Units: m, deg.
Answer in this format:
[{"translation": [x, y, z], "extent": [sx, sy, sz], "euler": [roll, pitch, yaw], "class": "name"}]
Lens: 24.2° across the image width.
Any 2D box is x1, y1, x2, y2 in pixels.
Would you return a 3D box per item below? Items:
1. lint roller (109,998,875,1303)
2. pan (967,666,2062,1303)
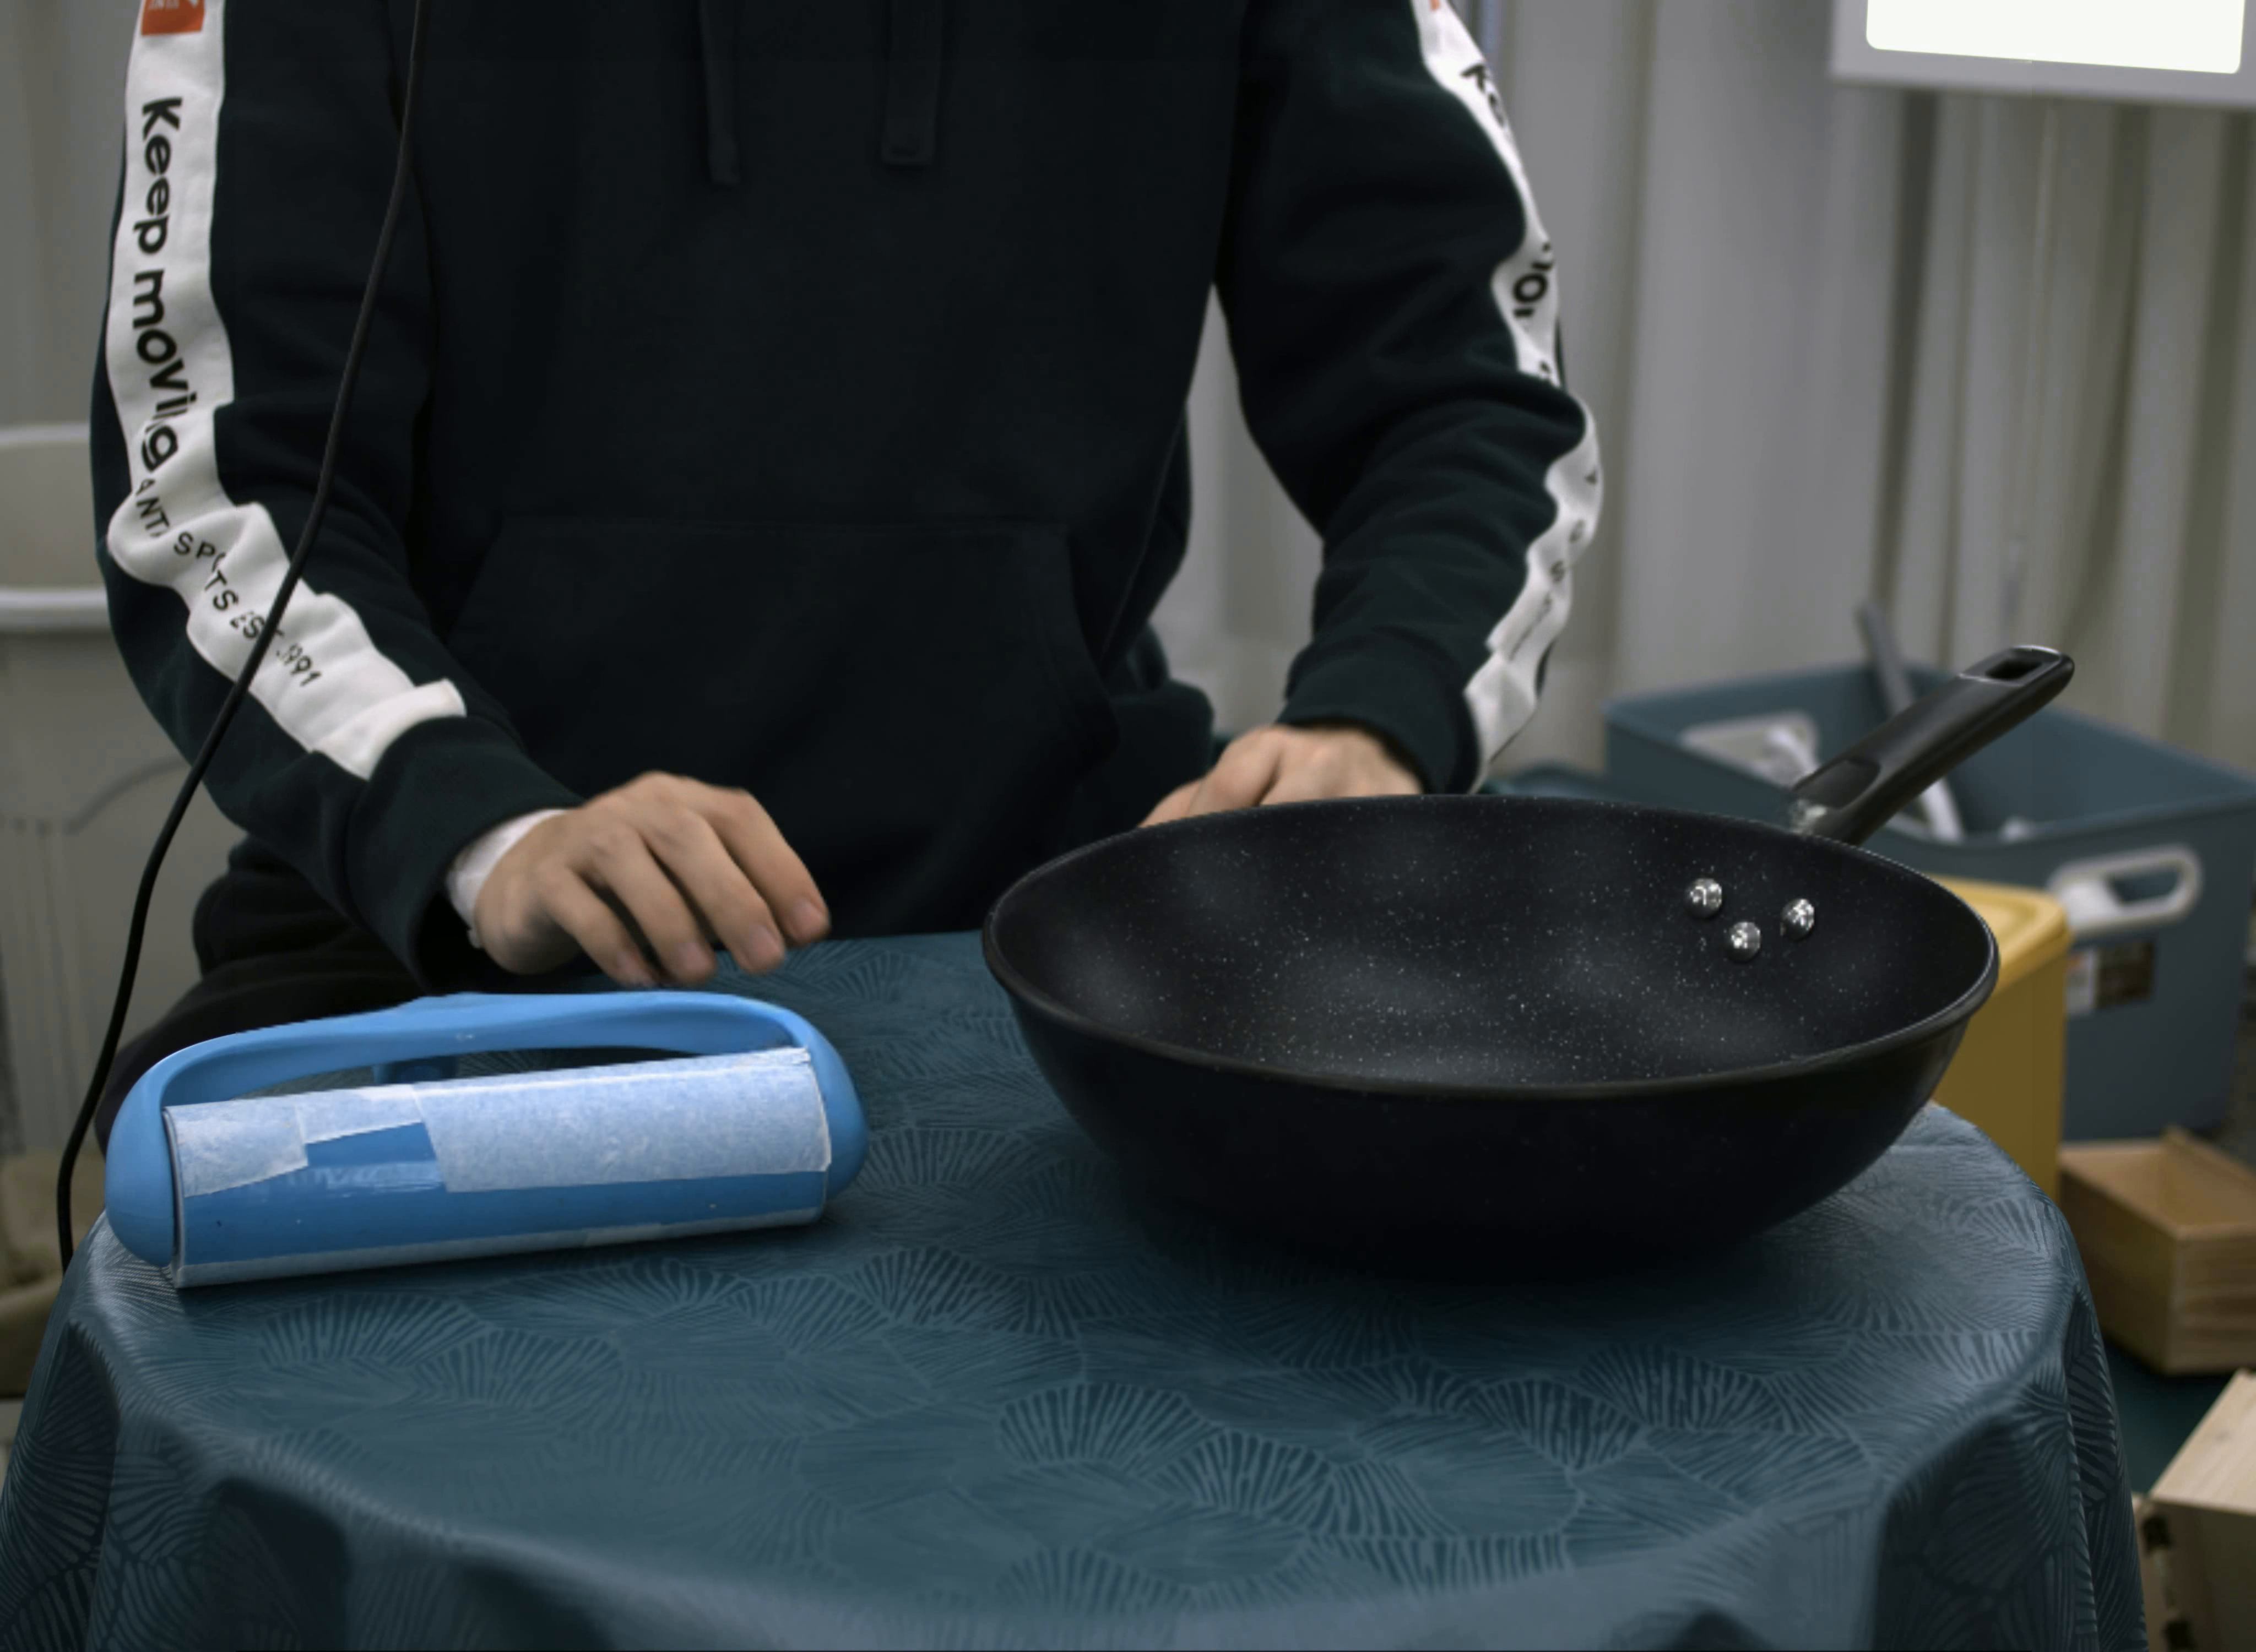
[{"translation": [-0.207, 0.085, 1.606], "extent": [0.229, 0.068, 0.178], "euler": [-8, 18, -20], "class": "lint roller"}, {"translation": [0.159, 0.047, 1.662], "extent": [0.306, 0.112, 0.479], "euler": [15, 21, 37], "class": "pan"}]
